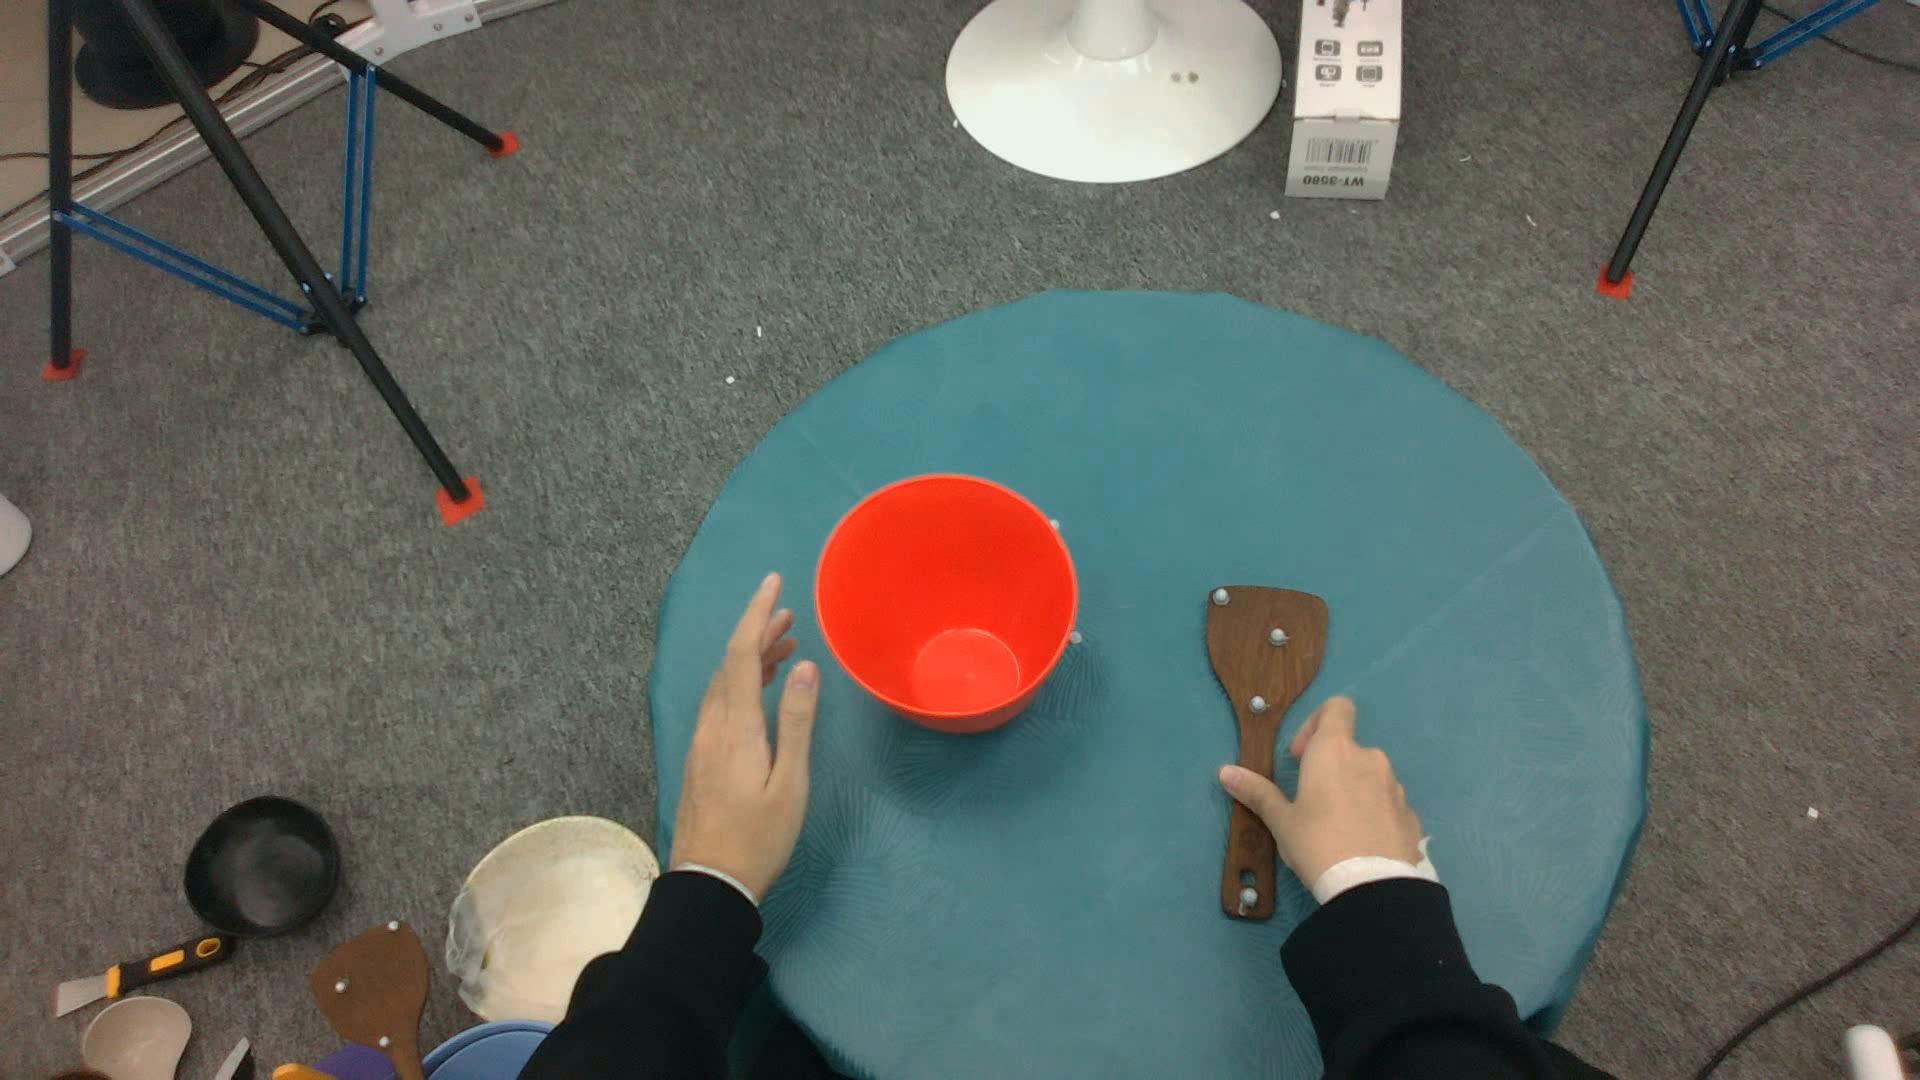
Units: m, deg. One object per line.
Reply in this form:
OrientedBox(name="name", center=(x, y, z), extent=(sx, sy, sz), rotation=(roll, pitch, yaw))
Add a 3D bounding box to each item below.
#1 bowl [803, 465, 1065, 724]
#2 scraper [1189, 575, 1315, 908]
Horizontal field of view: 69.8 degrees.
OrientedBox(name="bowl", center=(-0.013, 0.044, 0.807), extent=(0.148, 0.104, 0.148), rotation=(-1, 56, 1))
OrientedBox(name="scraper", center=(0.165, 0.112, 0.804), extent=(0.076, 0.011, 0.212), rotation=(7, 57, 8))
